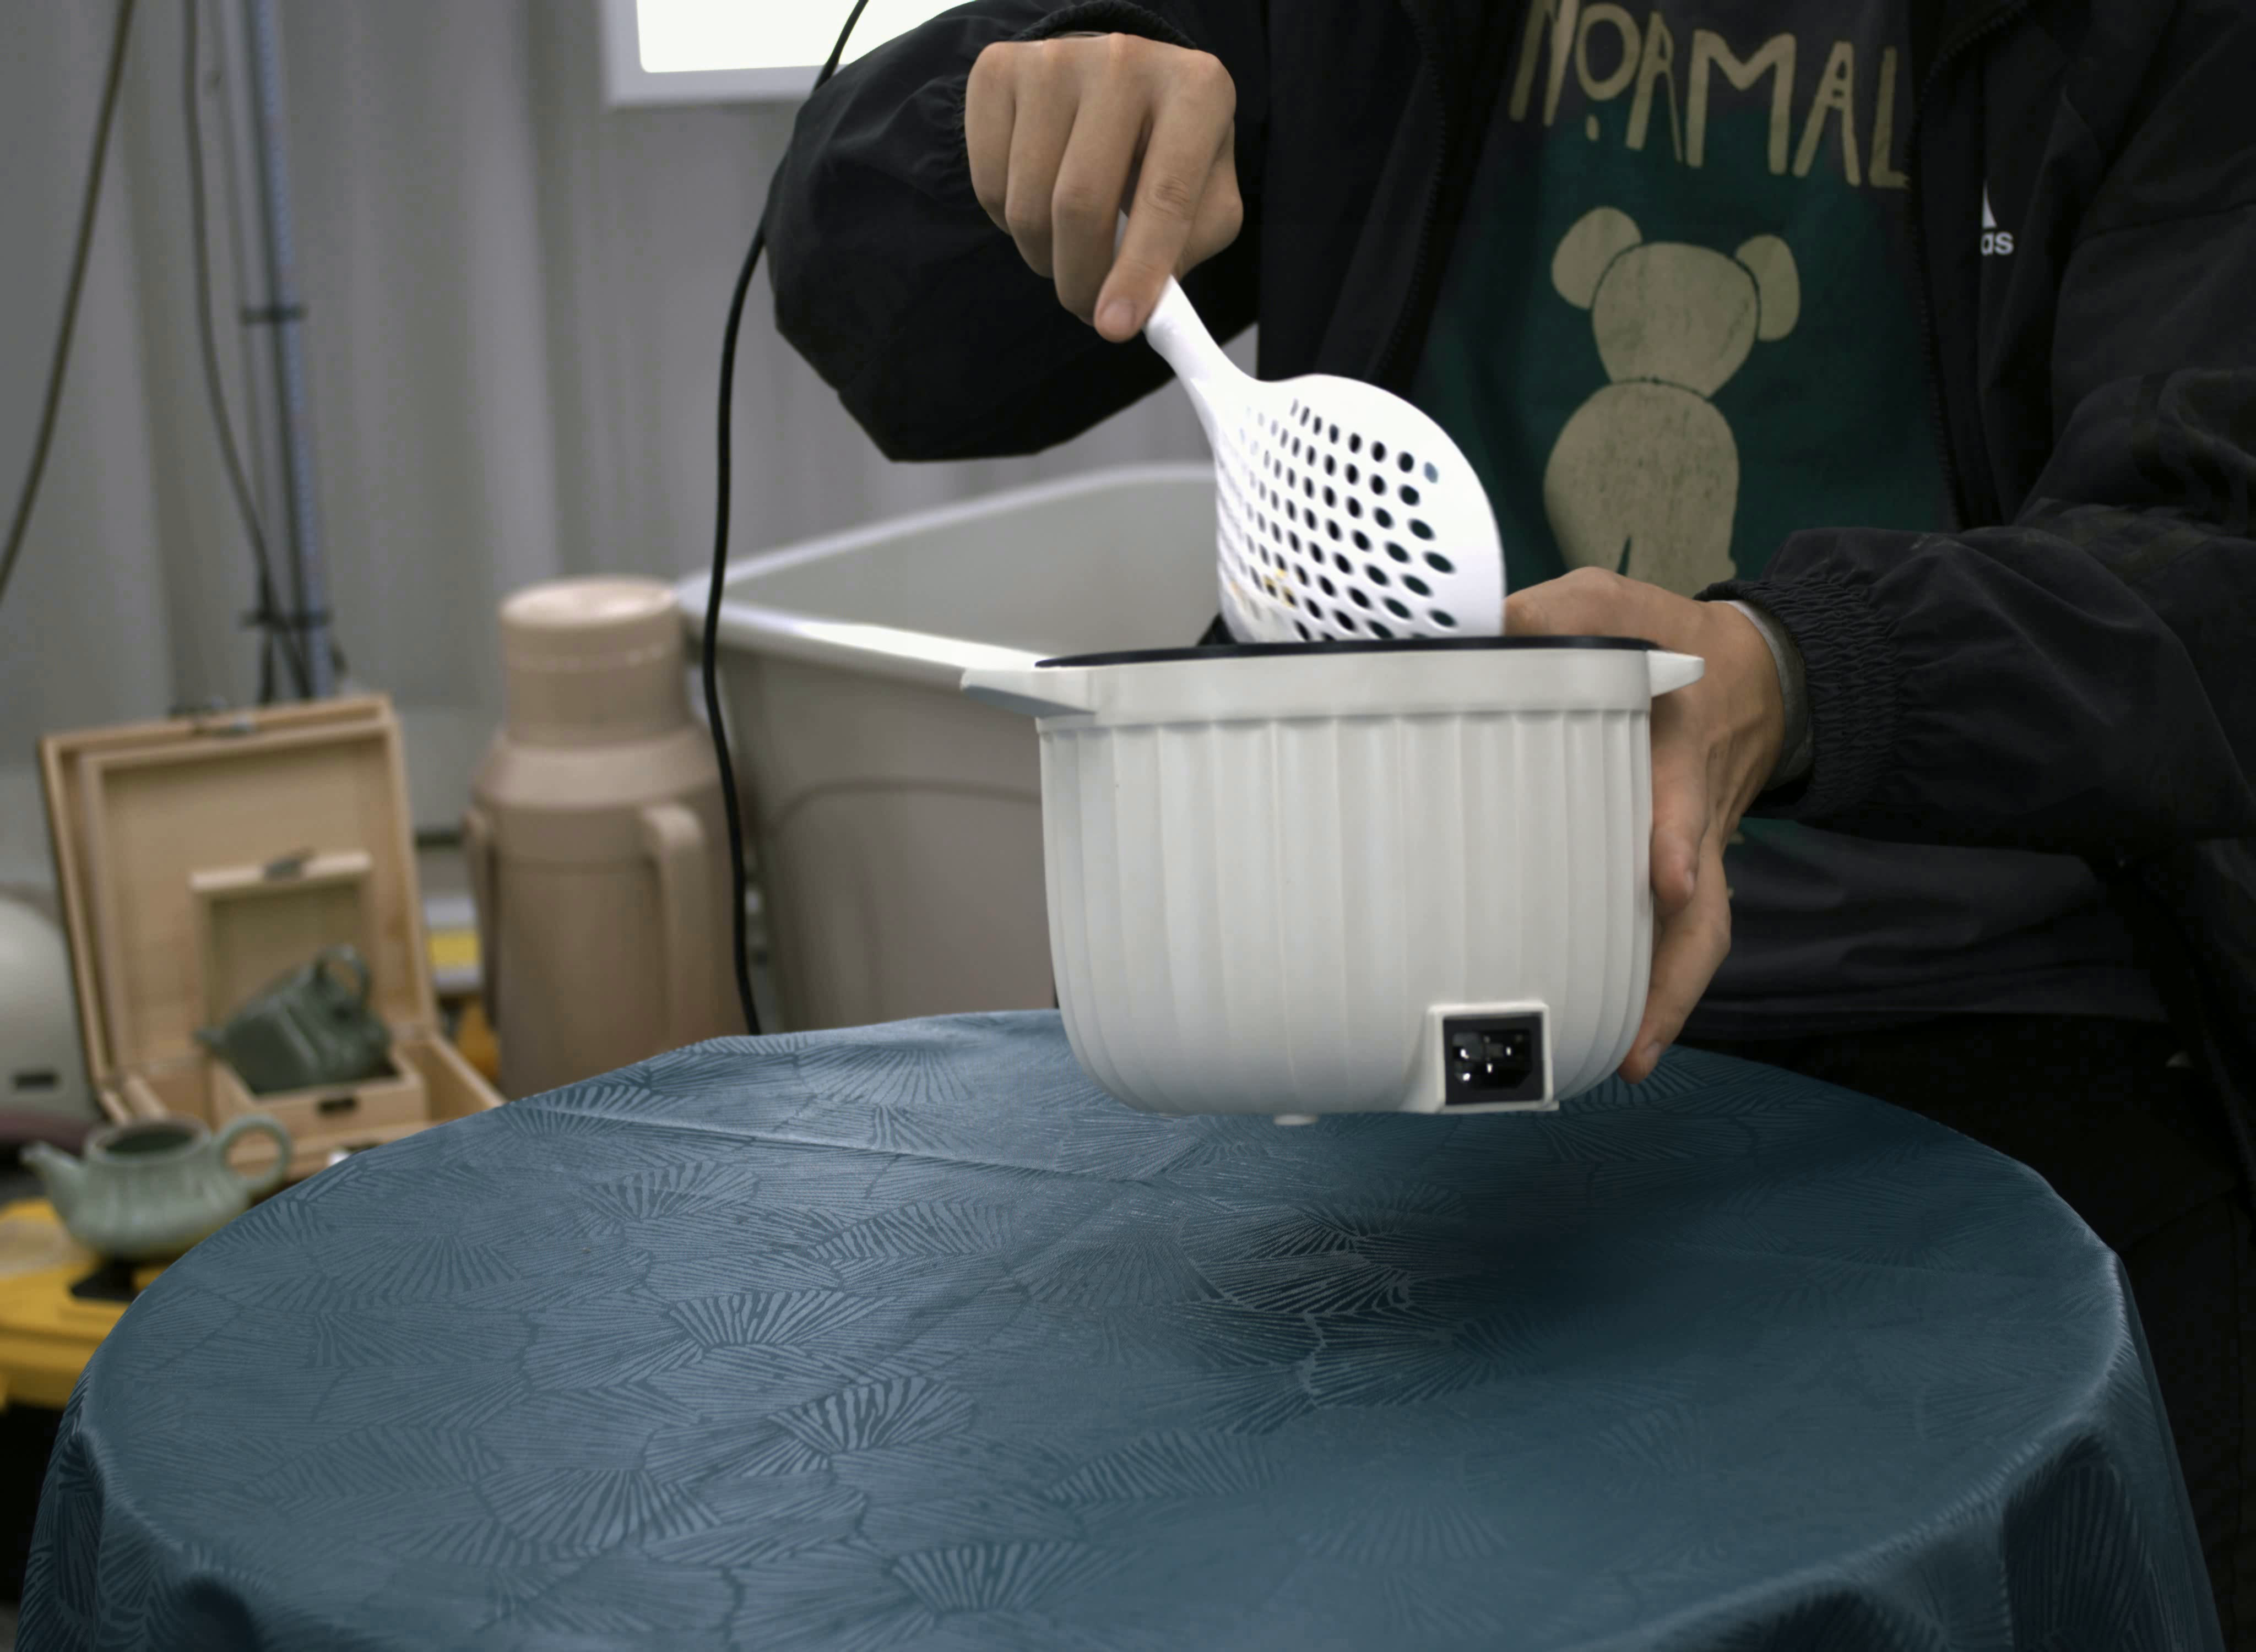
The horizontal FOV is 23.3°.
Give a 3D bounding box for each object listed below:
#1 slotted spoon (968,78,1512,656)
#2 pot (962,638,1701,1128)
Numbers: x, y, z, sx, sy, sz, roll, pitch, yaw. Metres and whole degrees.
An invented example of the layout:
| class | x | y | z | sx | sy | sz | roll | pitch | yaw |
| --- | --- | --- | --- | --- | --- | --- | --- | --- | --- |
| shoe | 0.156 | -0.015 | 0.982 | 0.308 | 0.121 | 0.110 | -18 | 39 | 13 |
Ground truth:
| class | x | y | z | sx | sy | sz | roll | pitch | yaw |
| --- | --- | --- | --- | --- | --- | --- | --- | --- | --- |
| slotted spoon | 0.024 | -0.127 | 1.678 | 0.050 | 0.135 | 0.353 | 0 | 37 | -23 |
| pot | 0.060 | 0.015 | 1.607 | 0.239 | 0.143 | 0.191 | 0 | 2 | -25 |
